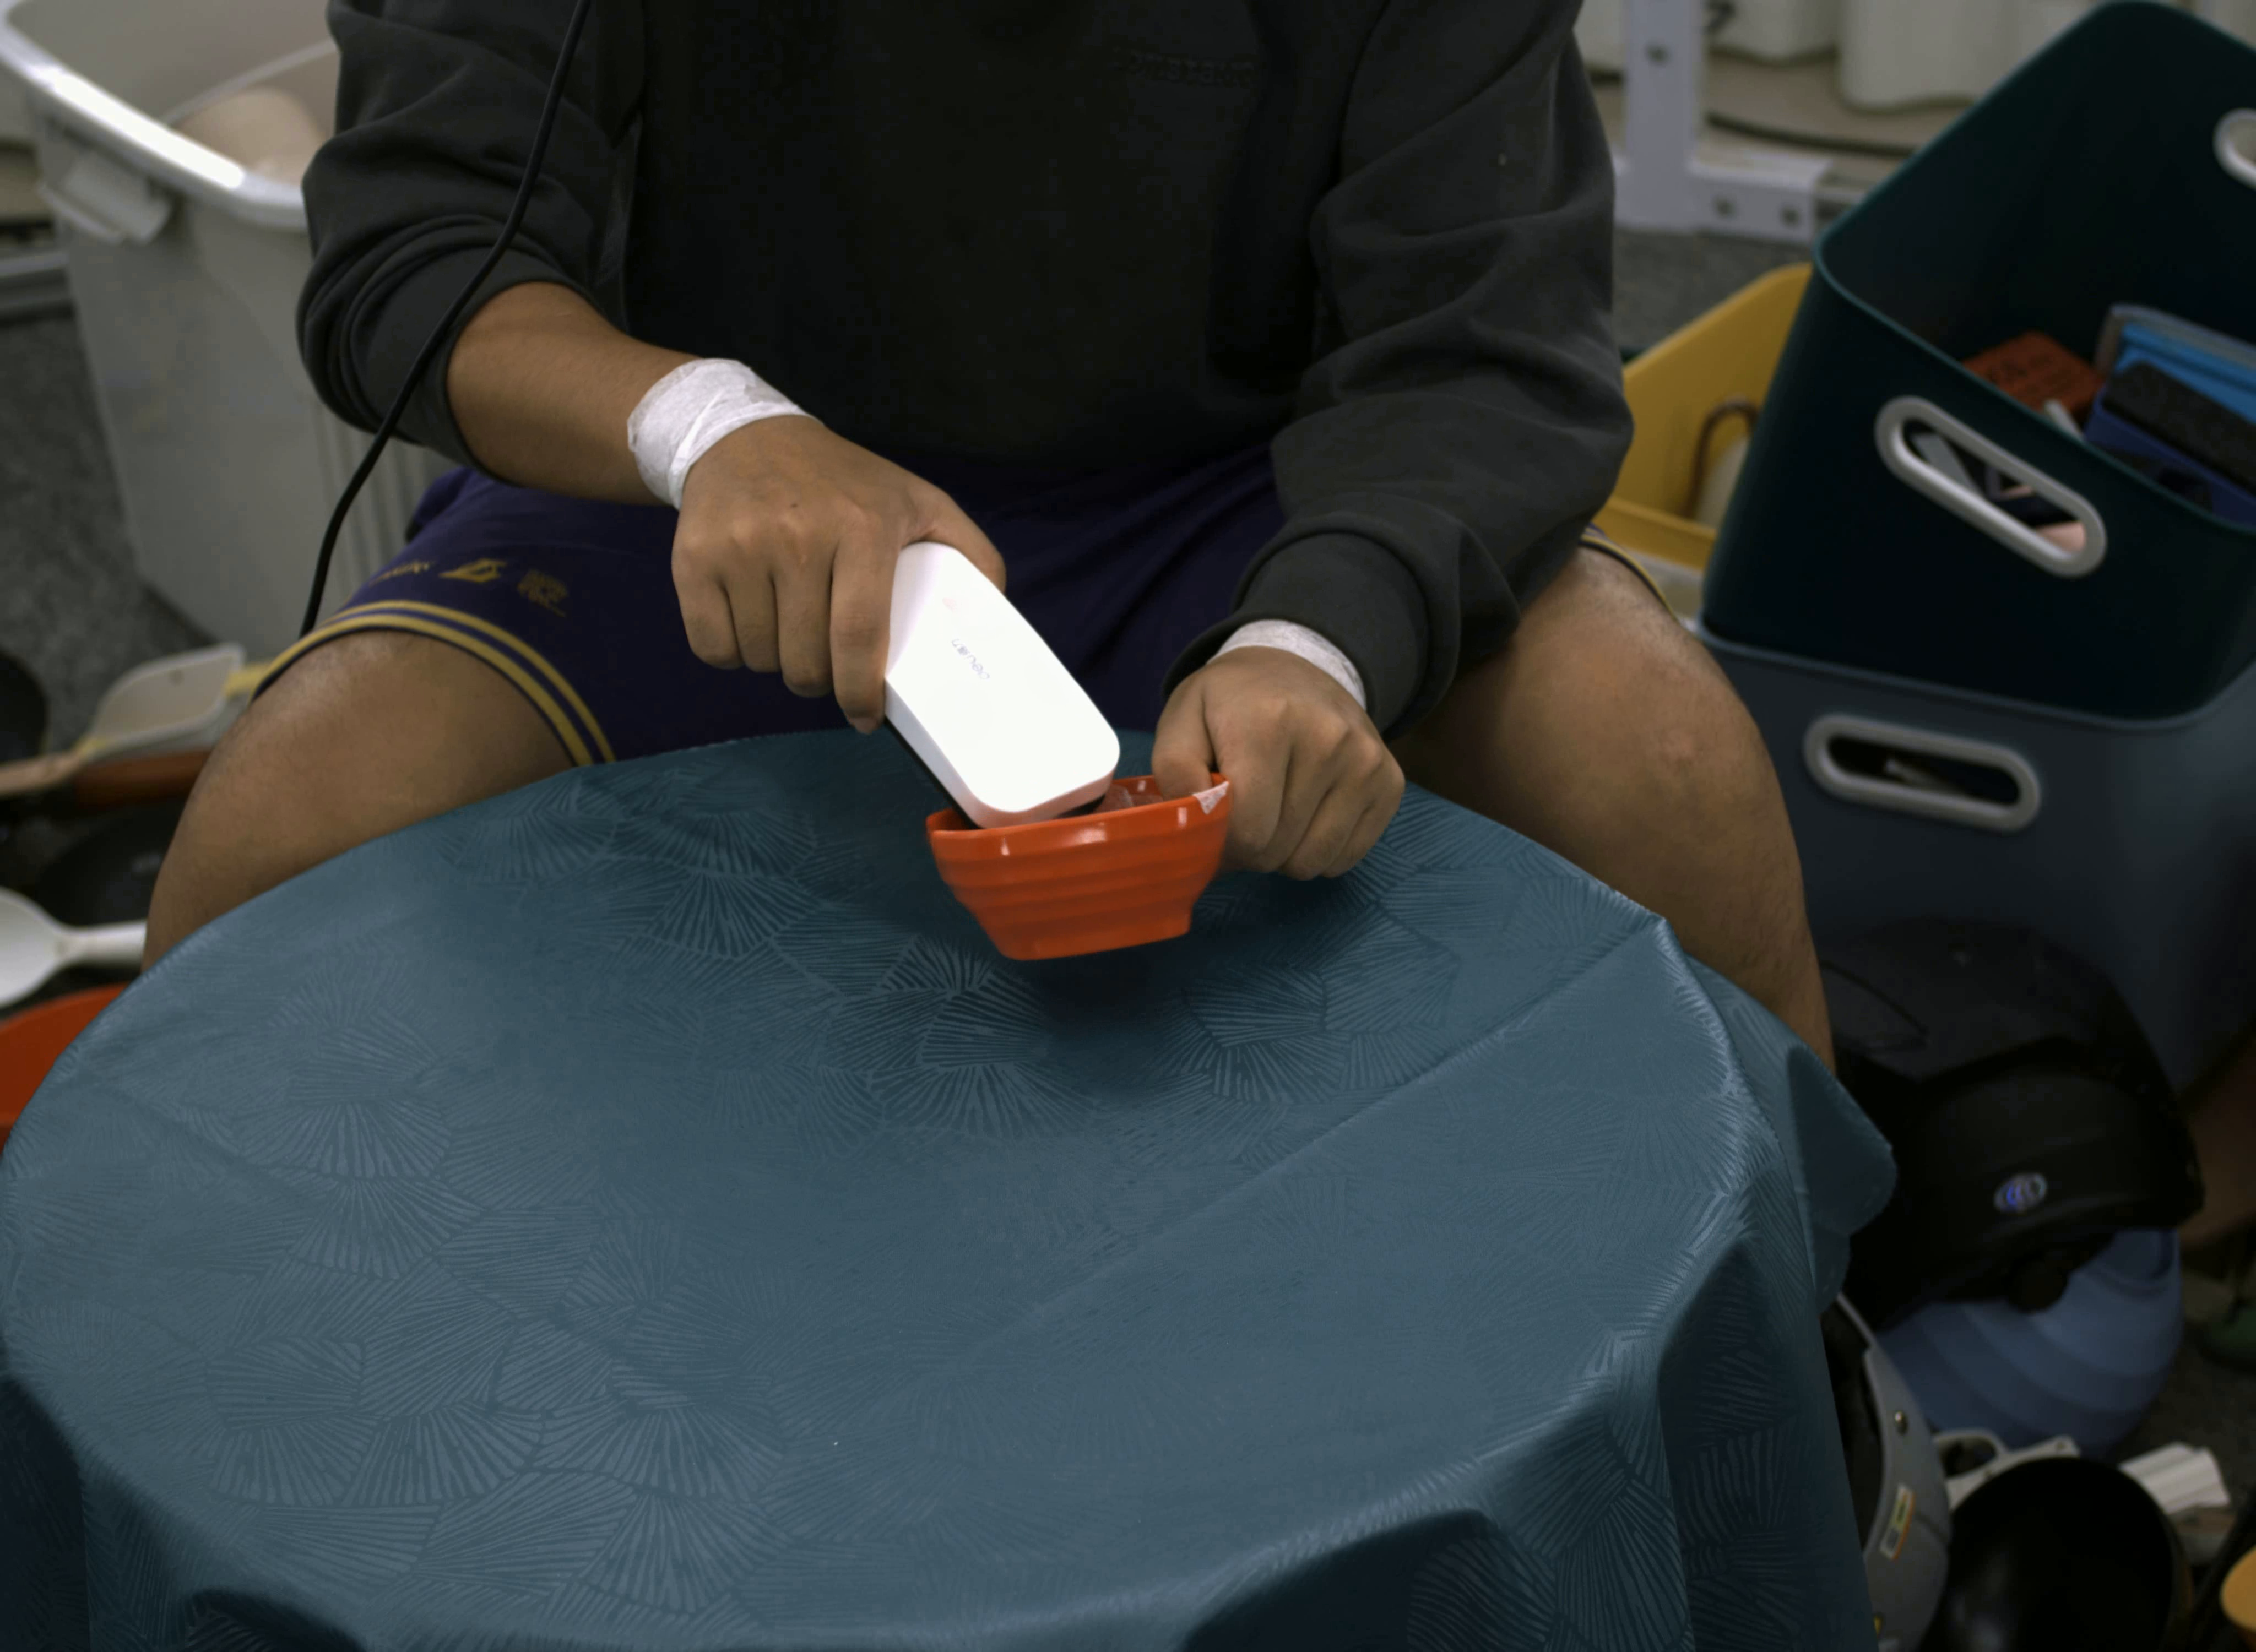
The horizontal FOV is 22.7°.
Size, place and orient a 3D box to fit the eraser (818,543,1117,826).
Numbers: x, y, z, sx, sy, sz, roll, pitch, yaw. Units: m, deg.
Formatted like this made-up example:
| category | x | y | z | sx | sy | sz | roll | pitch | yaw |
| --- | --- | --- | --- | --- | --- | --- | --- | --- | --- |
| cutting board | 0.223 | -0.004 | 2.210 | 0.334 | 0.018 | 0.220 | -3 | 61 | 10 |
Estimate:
| category | x | y | z | sx | sy | sz | roll | pitch | yaw |
| --- | --- | --- | --- | --- | --- | --- | --- | --- | --- |
| eraser | -0.058 | -0.049 | 2.019 | 0.064 | 0.034 | 0.132 | -20 | 55 | -26 |

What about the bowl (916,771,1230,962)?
| category | x | y | z | sx | sy | sz | roll | pitch | yaw |
| --- | --- | --- | --- | --- | --- | --- | --- | --- | --- |
| bowl | -0.016 | 0.015 | 1.963 | 0.118 | 0.051 | 0.119 | -9 | 5 | 1 |
